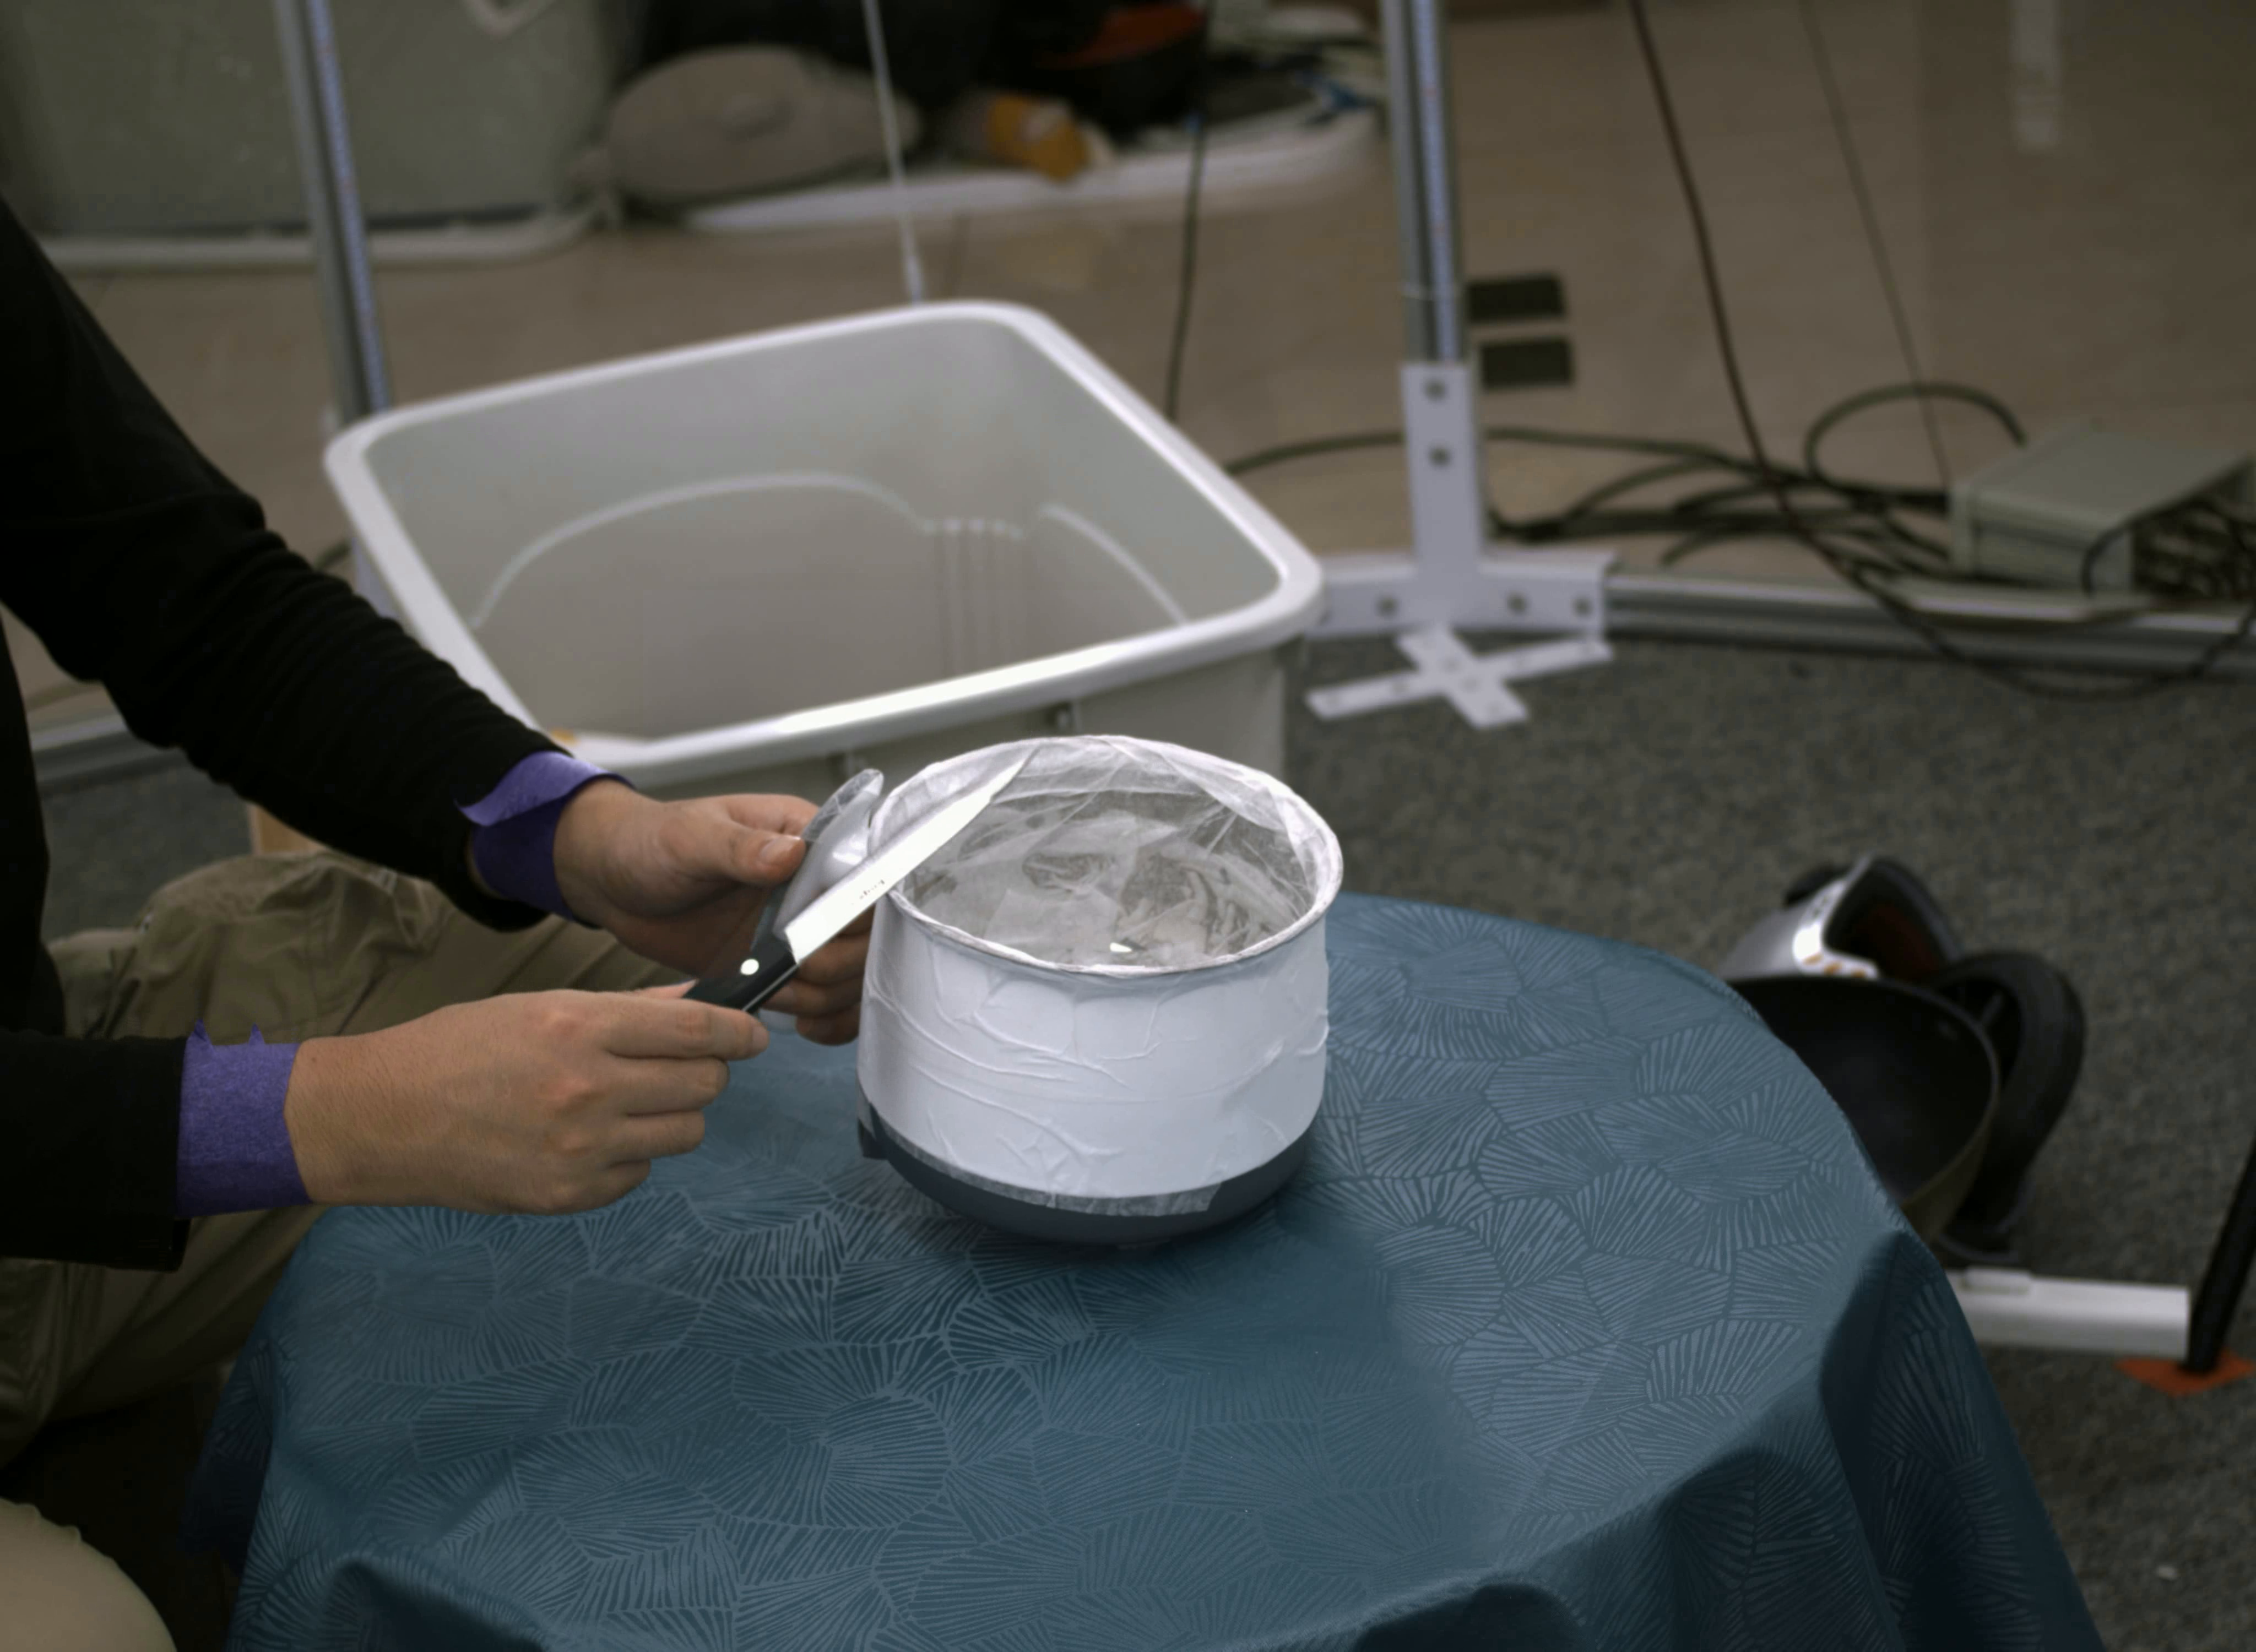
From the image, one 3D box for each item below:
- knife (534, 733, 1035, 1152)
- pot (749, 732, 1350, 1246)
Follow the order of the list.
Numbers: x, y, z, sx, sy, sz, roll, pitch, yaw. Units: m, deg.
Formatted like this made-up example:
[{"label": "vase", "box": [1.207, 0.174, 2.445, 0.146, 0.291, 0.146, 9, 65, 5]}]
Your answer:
[{"label": "knife", "box": [-0.121, 0.041, 2.061, 0.237, 0.016, 0.024, -40, 43, -14]}, {"label": "pot", "box": [-0.036, 0.055, 2.137, 0.232, 0.139, 0.176, 17, 31, 19]}]
